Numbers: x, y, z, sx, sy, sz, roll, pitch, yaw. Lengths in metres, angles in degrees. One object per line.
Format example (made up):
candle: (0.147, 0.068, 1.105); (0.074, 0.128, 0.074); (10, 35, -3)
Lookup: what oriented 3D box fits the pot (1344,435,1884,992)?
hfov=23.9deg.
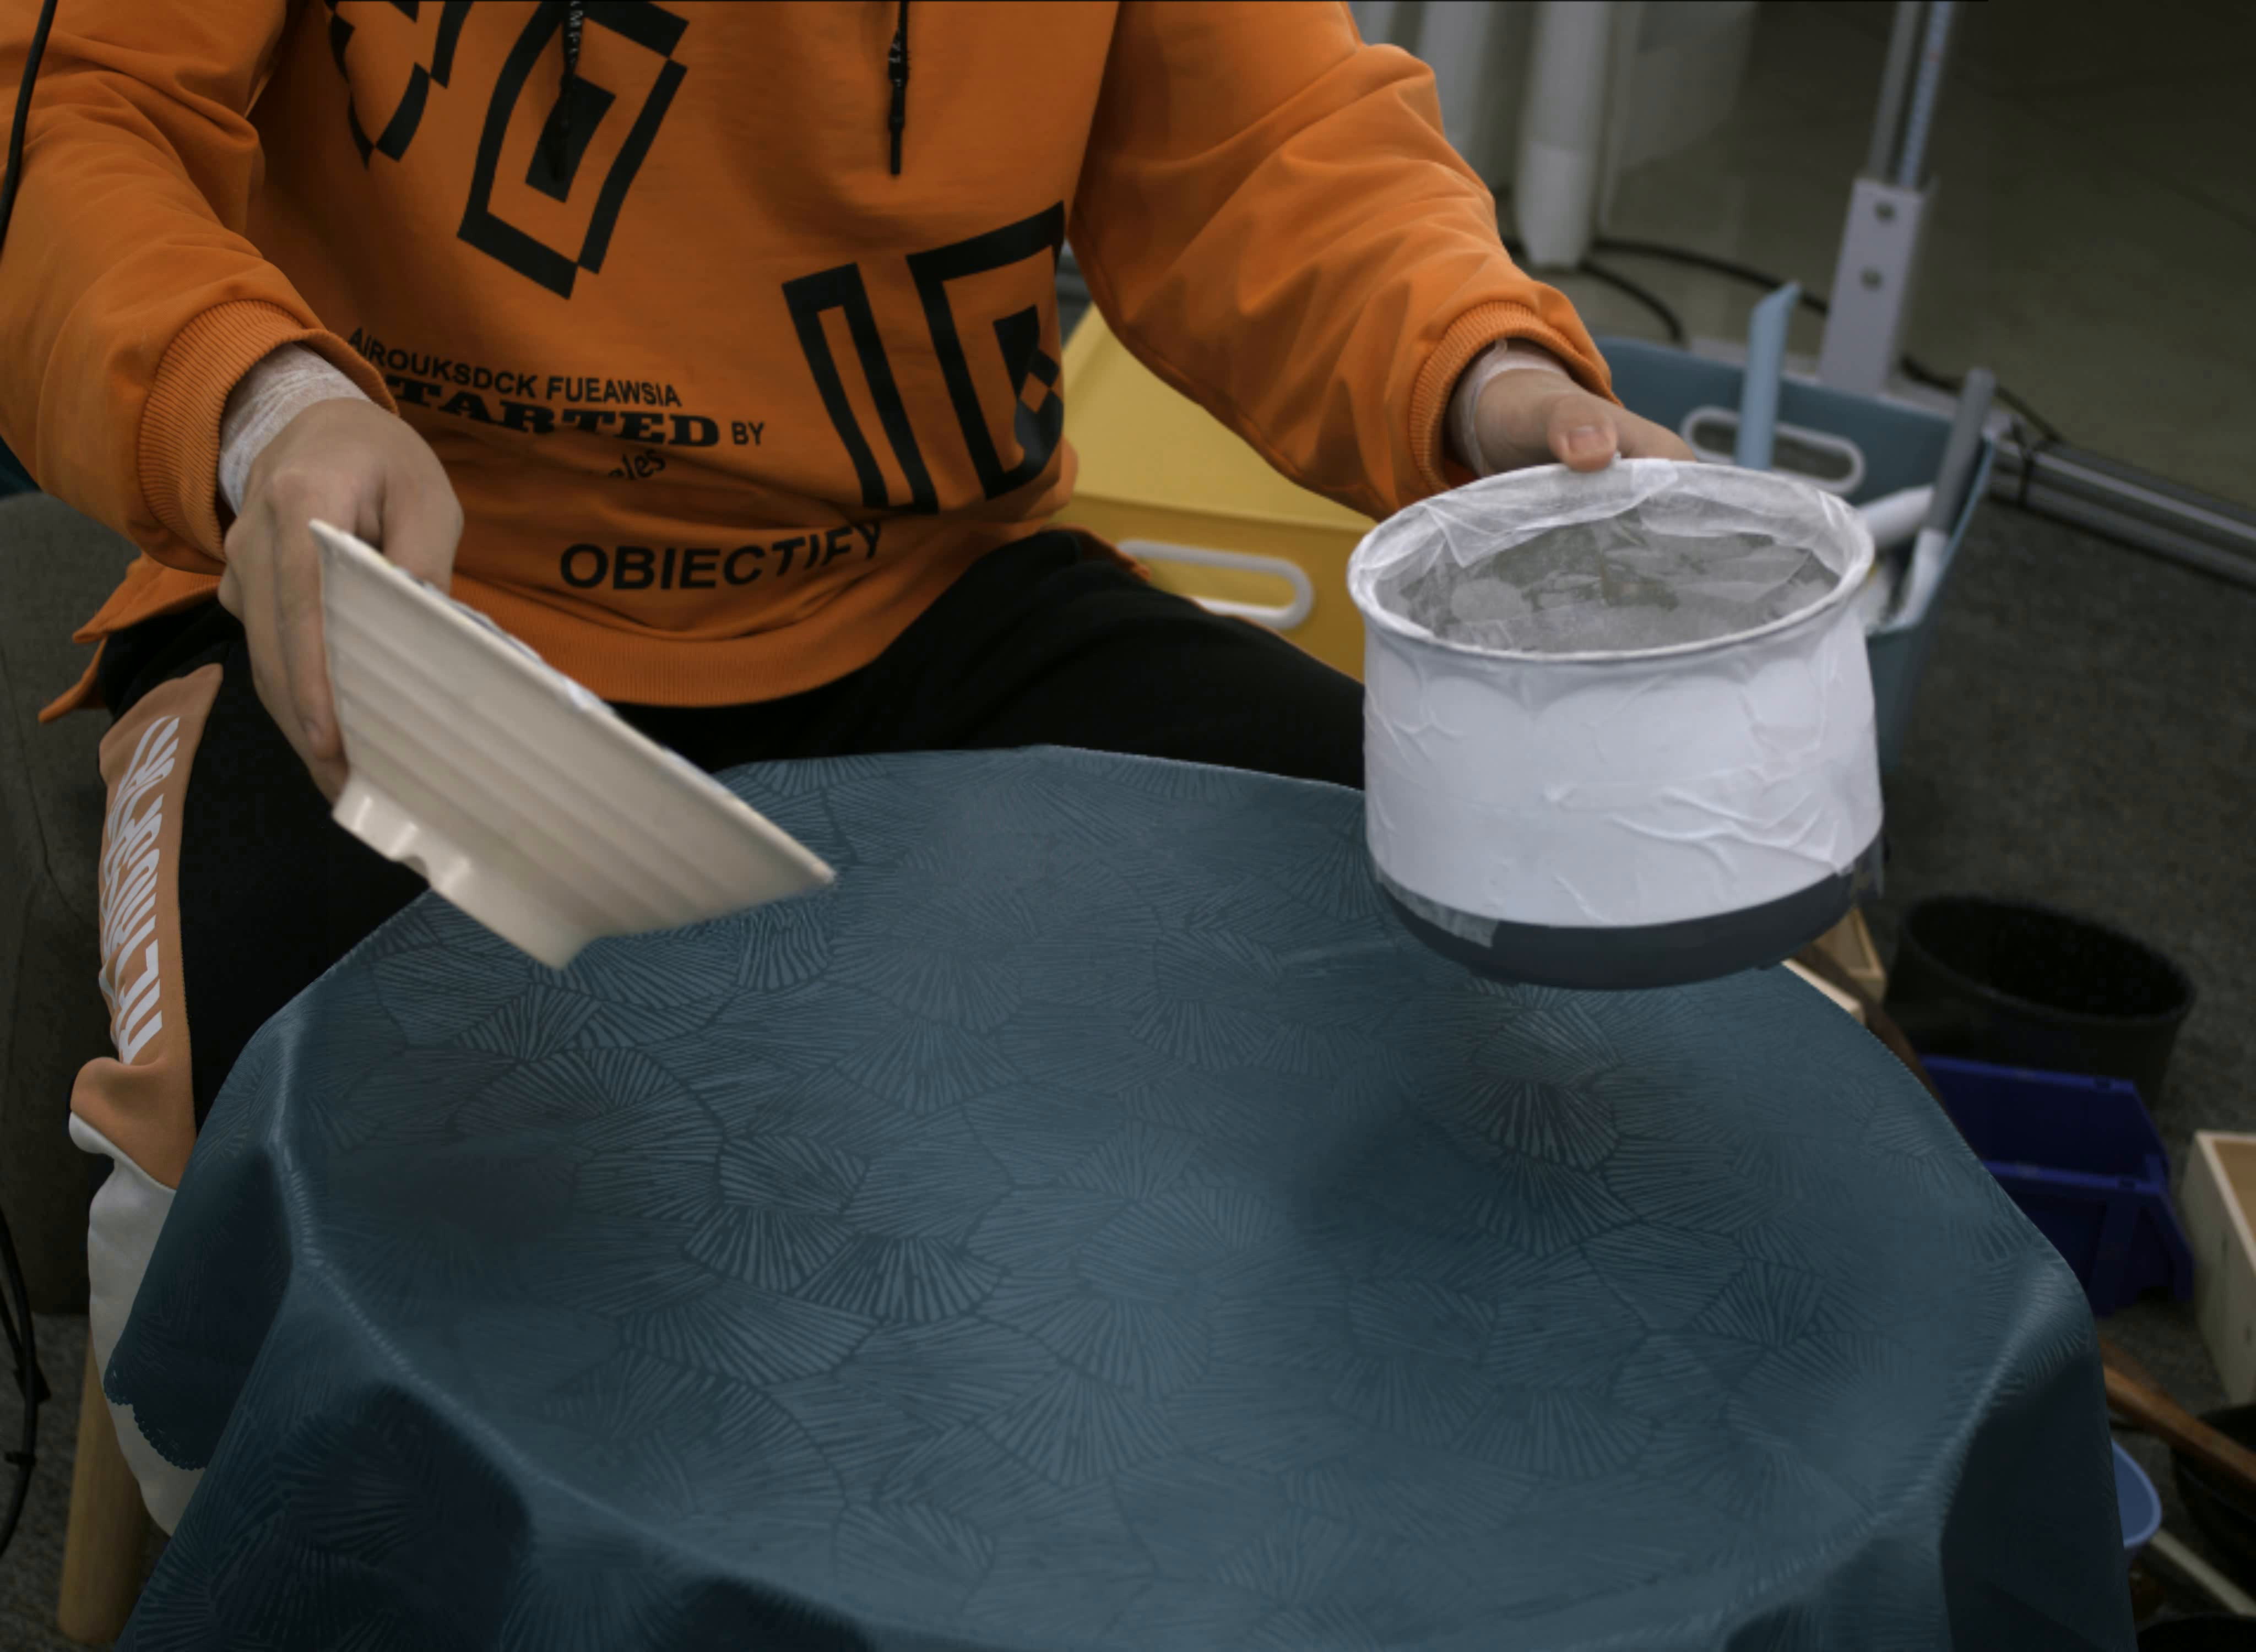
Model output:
pot: (0.165, -0.045, 1.825); (0.178, 0.136, 0.235); (-4, 24, 2)

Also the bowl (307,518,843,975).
bowl: (-0.193, -0.009, 1.680); (0.204, 0.078, 0.204); (33, -5, 3)
